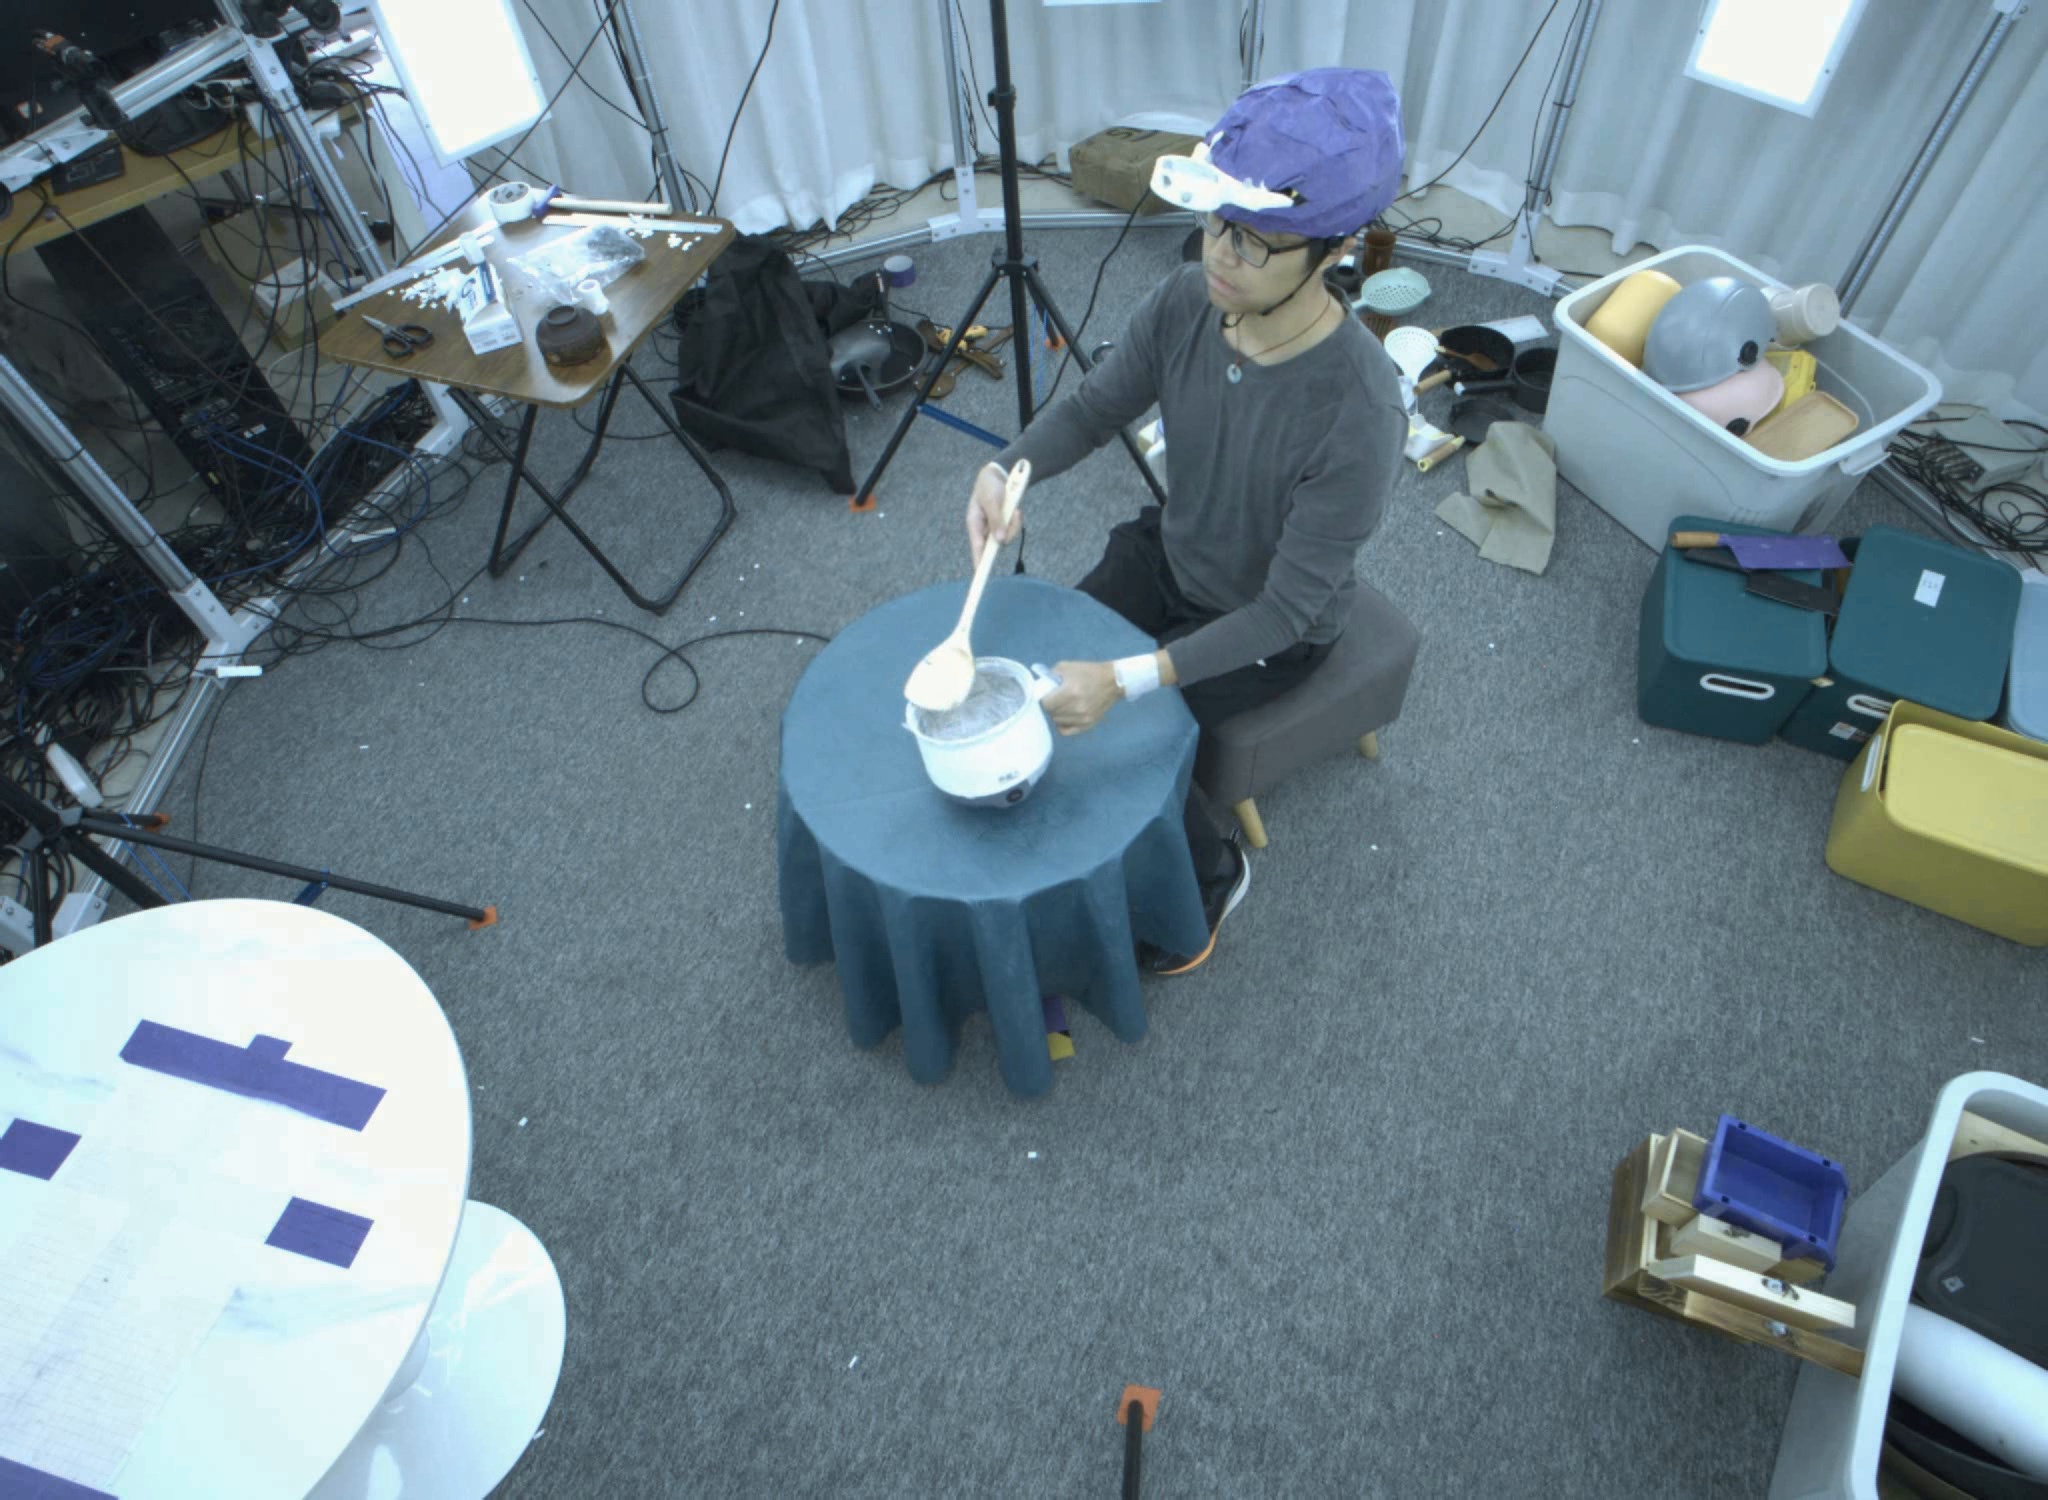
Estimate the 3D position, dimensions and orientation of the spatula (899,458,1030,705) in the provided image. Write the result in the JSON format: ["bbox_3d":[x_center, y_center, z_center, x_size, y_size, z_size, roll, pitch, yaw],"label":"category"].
[{"bbox_3d":[-0.069,-0.239,1.694,0.094,0.019,0.390,14,76,22],"label":"spatula"}]

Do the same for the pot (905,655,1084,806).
[{"bbox_3d":[-0.033,-0.036,1.683,0.235,0.139,0.175,-27,42,-10],"label":"pot"}]
